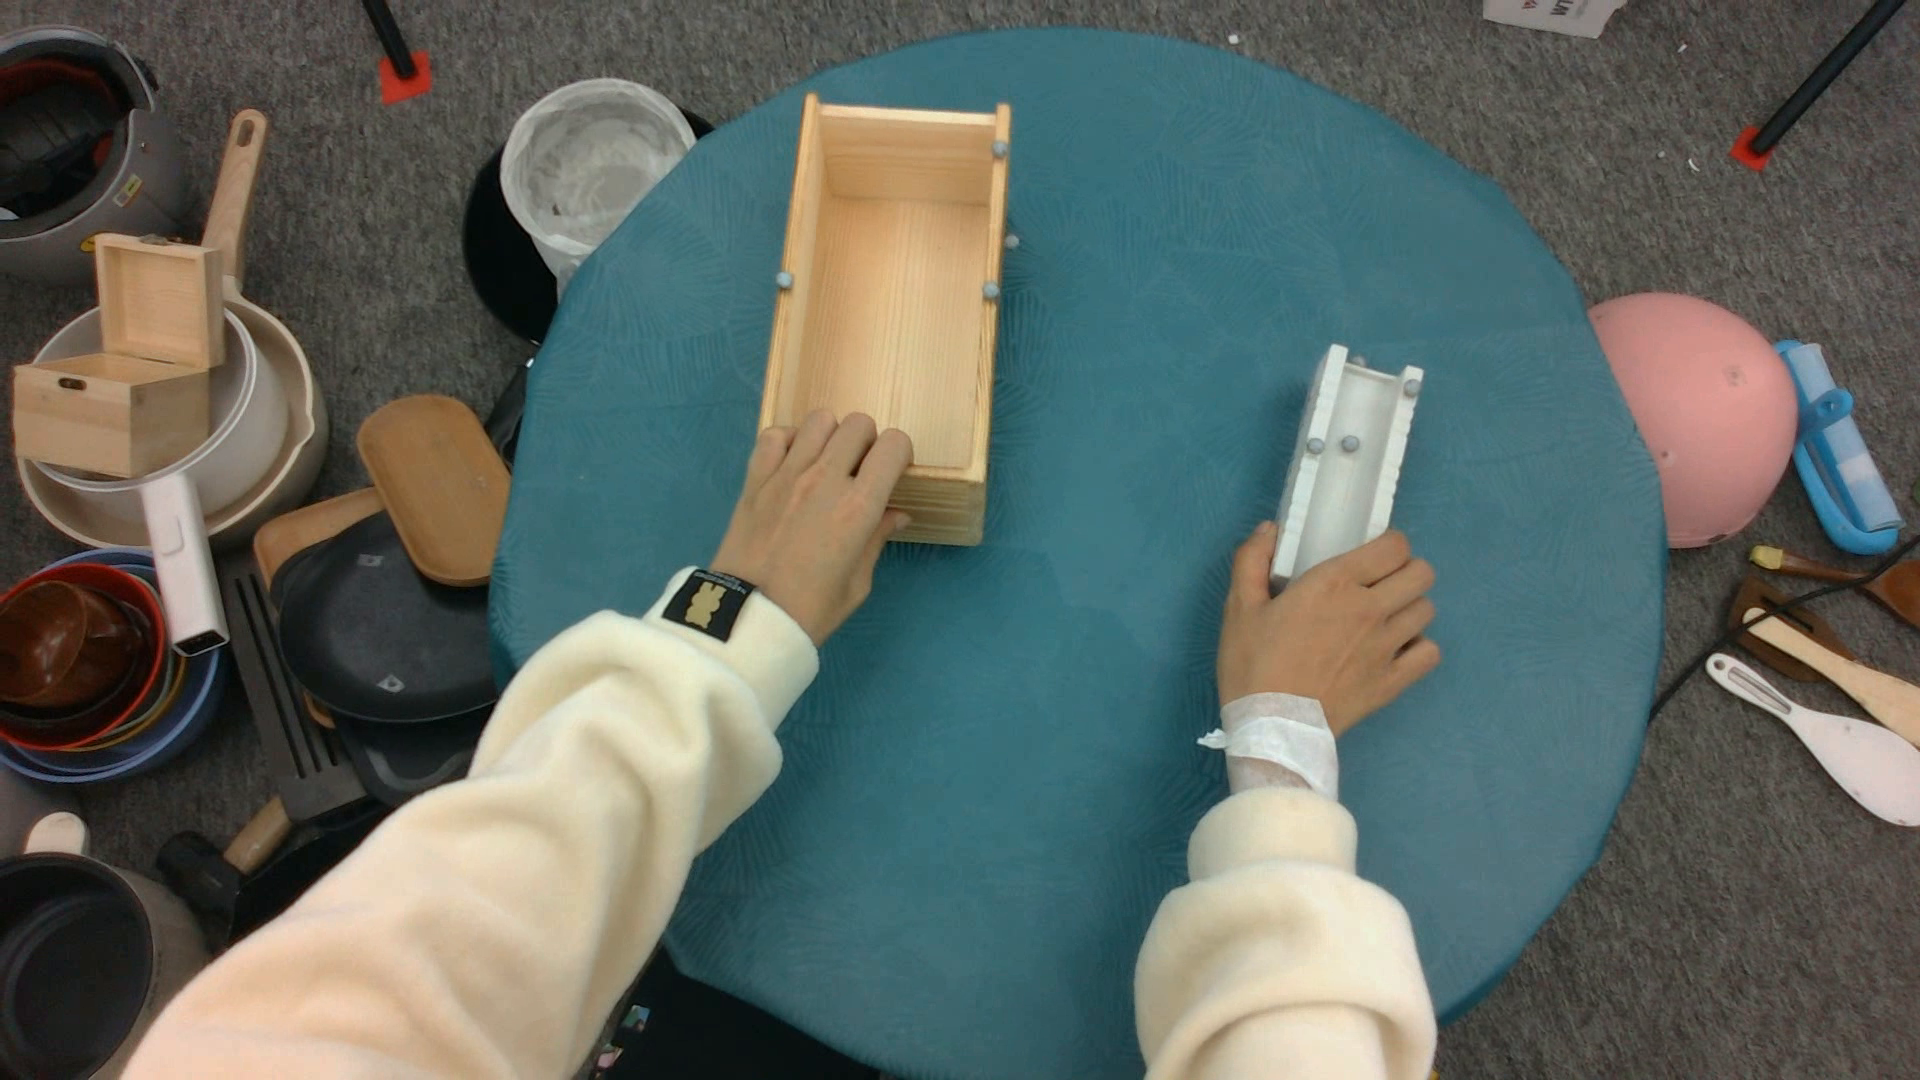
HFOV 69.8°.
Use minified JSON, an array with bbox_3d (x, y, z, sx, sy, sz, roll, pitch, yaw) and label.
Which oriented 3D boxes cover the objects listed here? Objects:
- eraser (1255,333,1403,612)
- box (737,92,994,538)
[{"bbox_3d":[0.187,-0.034,0.703,0.050,0.046,0.135,16,68,1],"label":"eraser"},{"bbox_3d":[-0.042,-0.115,0.694,0.107,0.080,0.212,3,67,1],"label":"box"}]
